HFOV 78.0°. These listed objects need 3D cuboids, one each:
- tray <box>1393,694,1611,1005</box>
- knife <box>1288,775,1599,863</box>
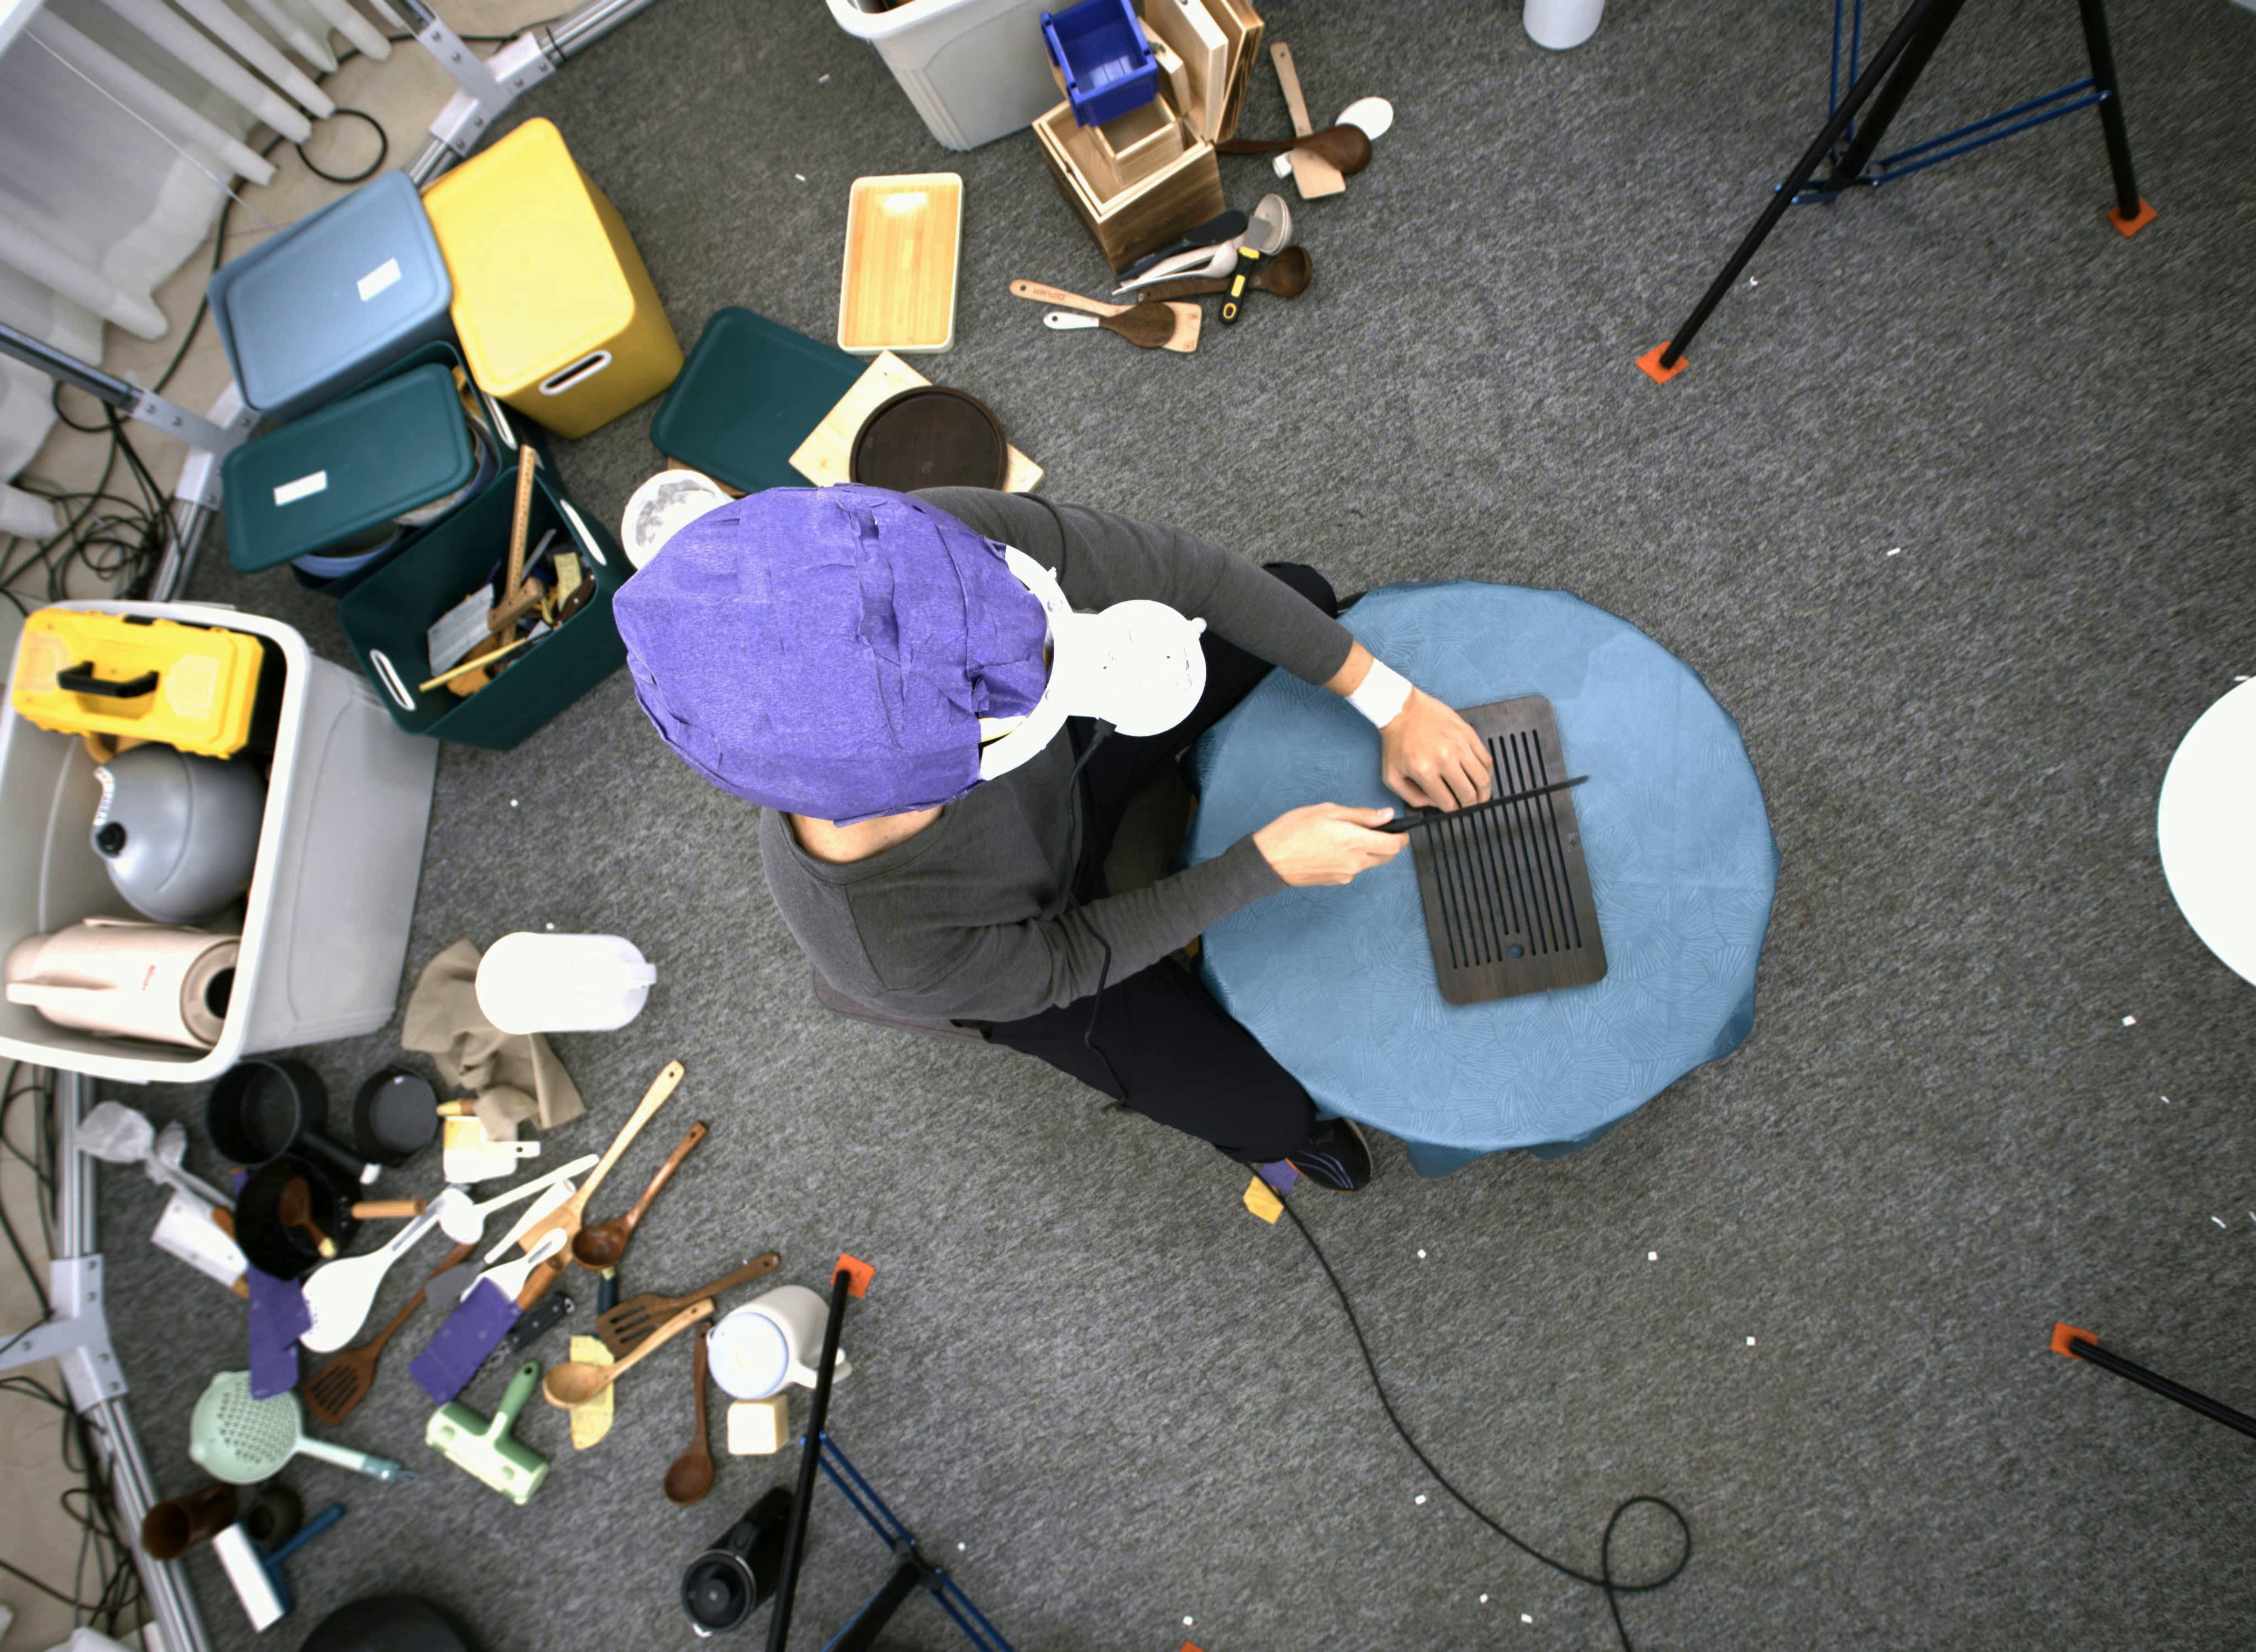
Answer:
[{"bbox_3d":[0.387,0.022,1.431,0.171,0.018,0.304,-11,84,11],"label":"tray"},{"bbox_3d":[0.302,-0.010,1.325,0.304,0.081,0.020,-14,81,11],"label":"knife"}]
